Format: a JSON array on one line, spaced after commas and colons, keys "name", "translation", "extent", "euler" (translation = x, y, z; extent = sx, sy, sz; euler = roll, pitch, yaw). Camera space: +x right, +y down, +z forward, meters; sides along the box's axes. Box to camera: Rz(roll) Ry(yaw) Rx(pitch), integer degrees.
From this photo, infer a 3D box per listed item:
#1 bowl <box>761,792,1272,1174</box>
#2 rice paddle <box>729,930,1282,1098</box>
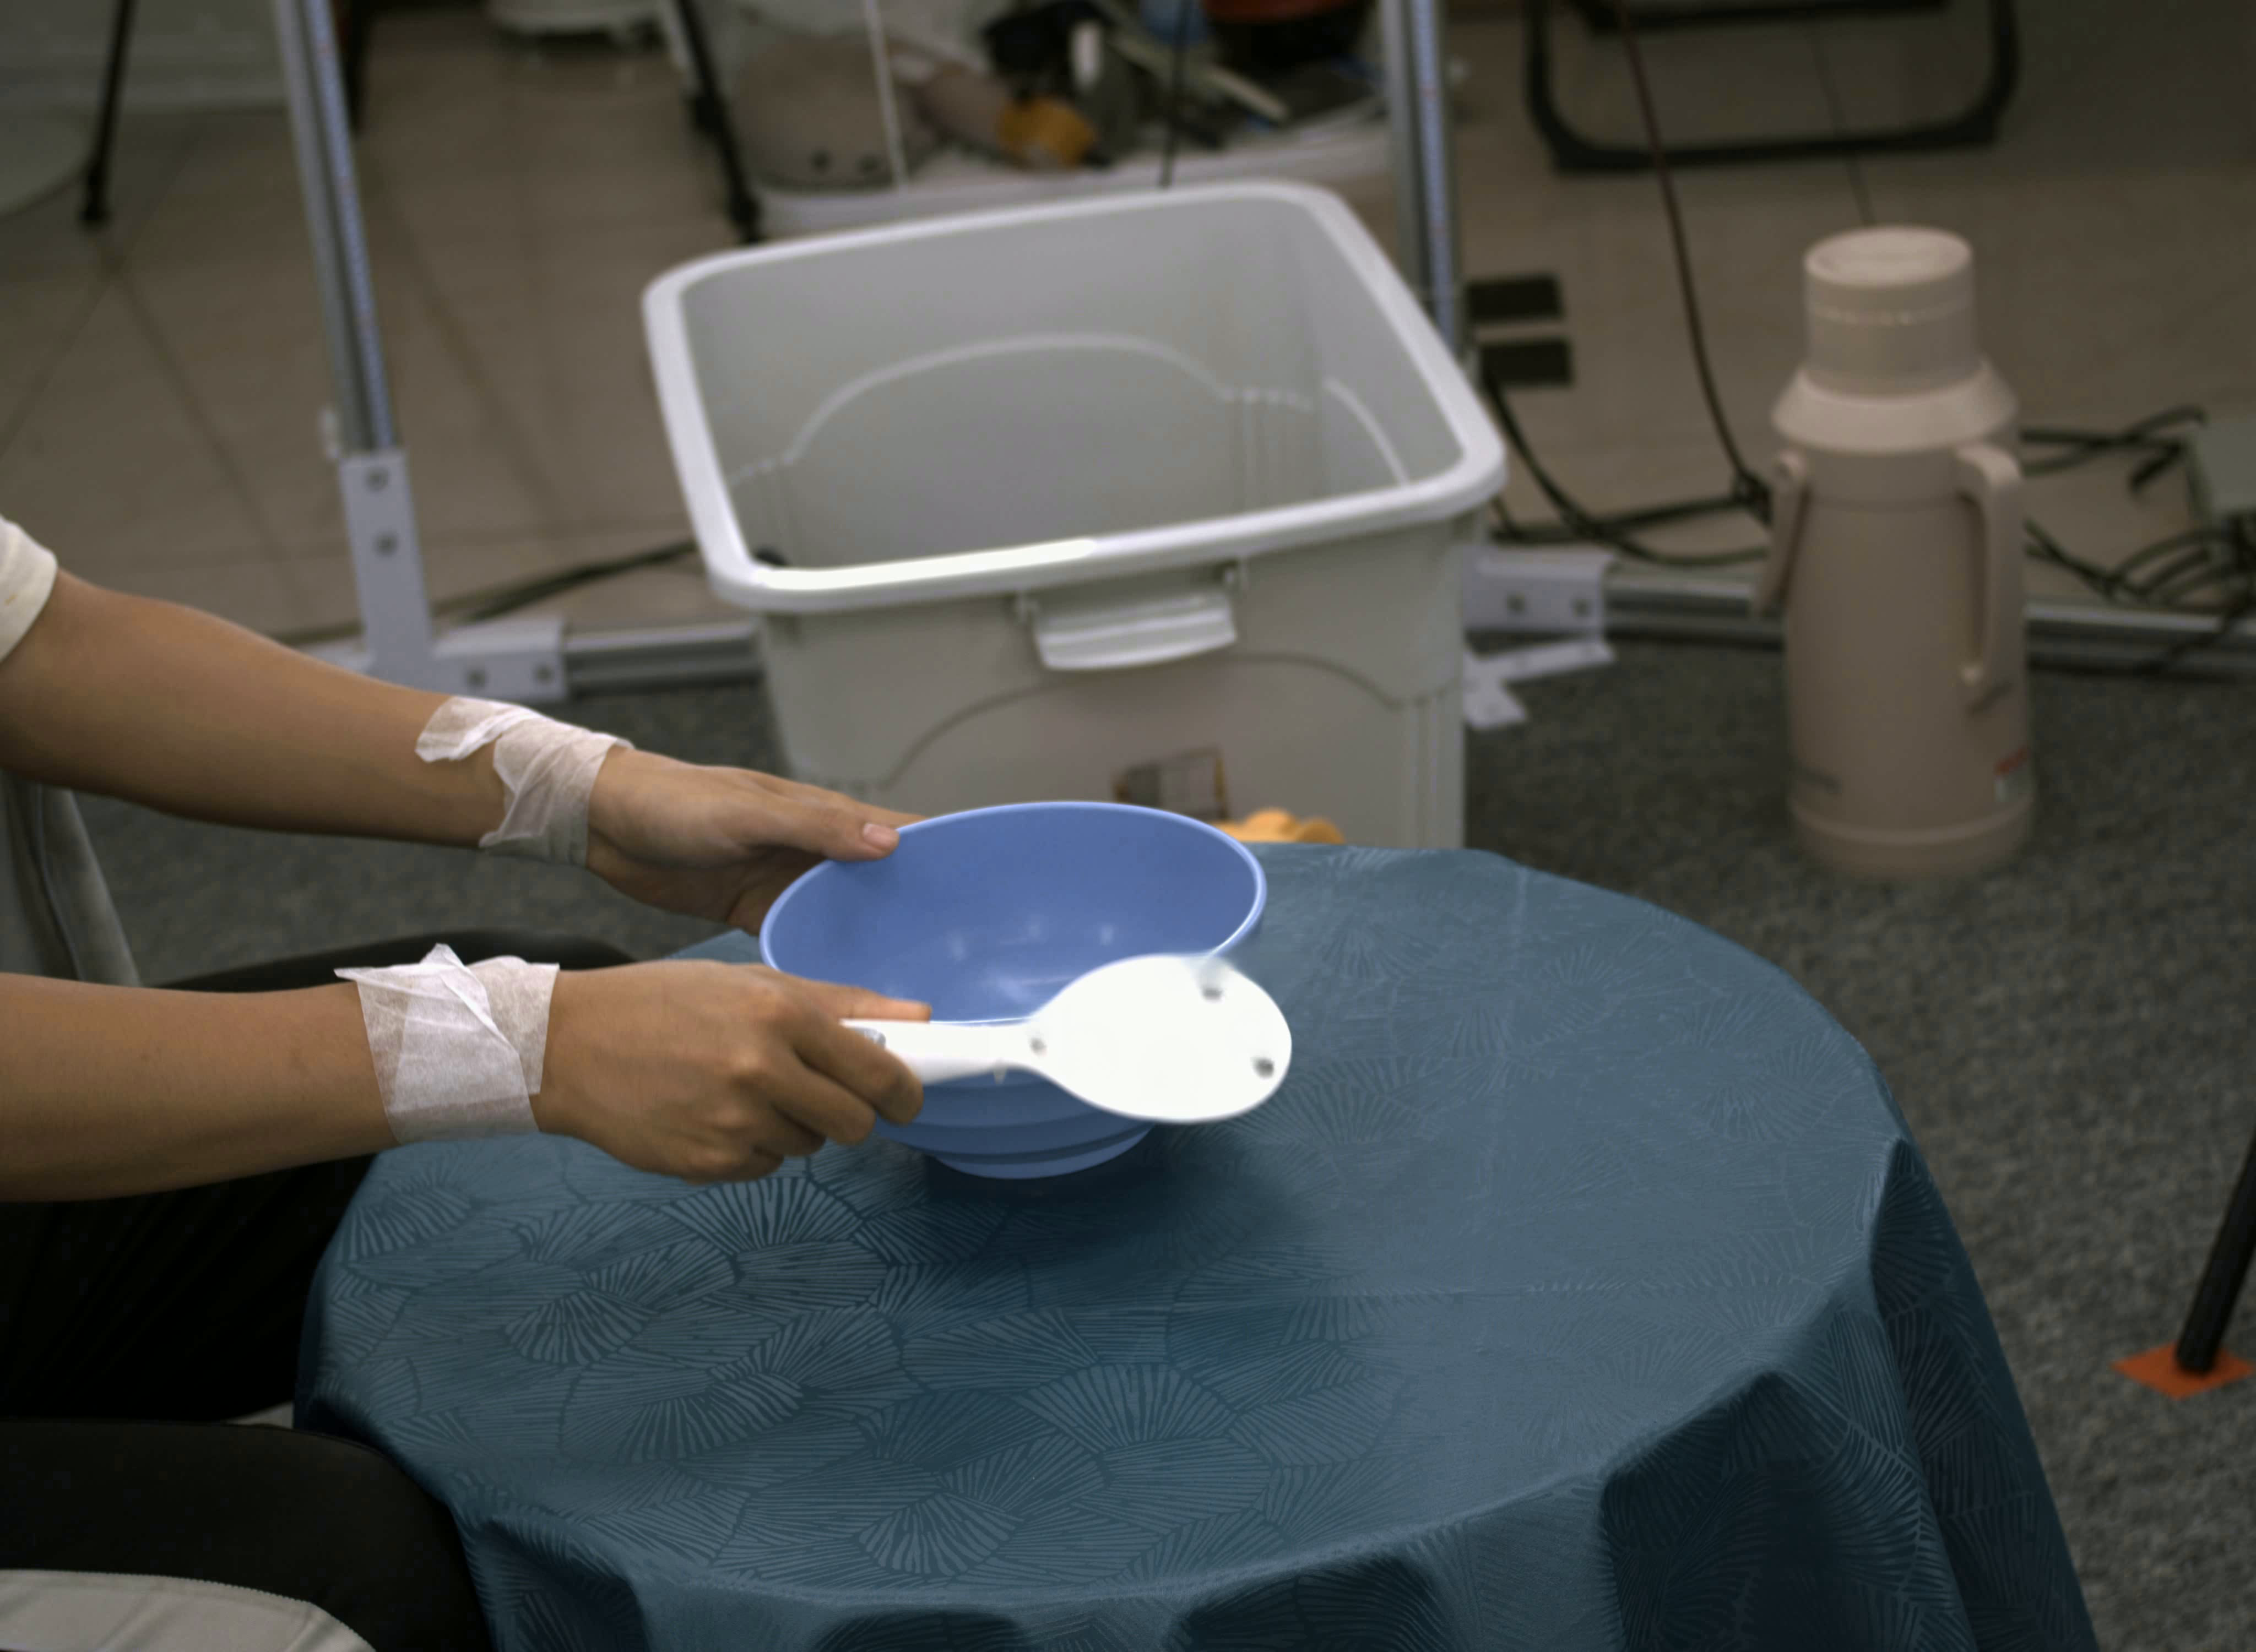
[{"name": "bowl", "translation": [-0.040, 0.071, 2.187], "extent": [0.196, 0.097, 0.193], "euler": [-3, 27, 2]}, {"name": "rice paddle", "translation": [-0.041, 0.072, 2.043], "extent": [0.205, 0.030, 0.068], "euler": [-5, 62, -17]}]
